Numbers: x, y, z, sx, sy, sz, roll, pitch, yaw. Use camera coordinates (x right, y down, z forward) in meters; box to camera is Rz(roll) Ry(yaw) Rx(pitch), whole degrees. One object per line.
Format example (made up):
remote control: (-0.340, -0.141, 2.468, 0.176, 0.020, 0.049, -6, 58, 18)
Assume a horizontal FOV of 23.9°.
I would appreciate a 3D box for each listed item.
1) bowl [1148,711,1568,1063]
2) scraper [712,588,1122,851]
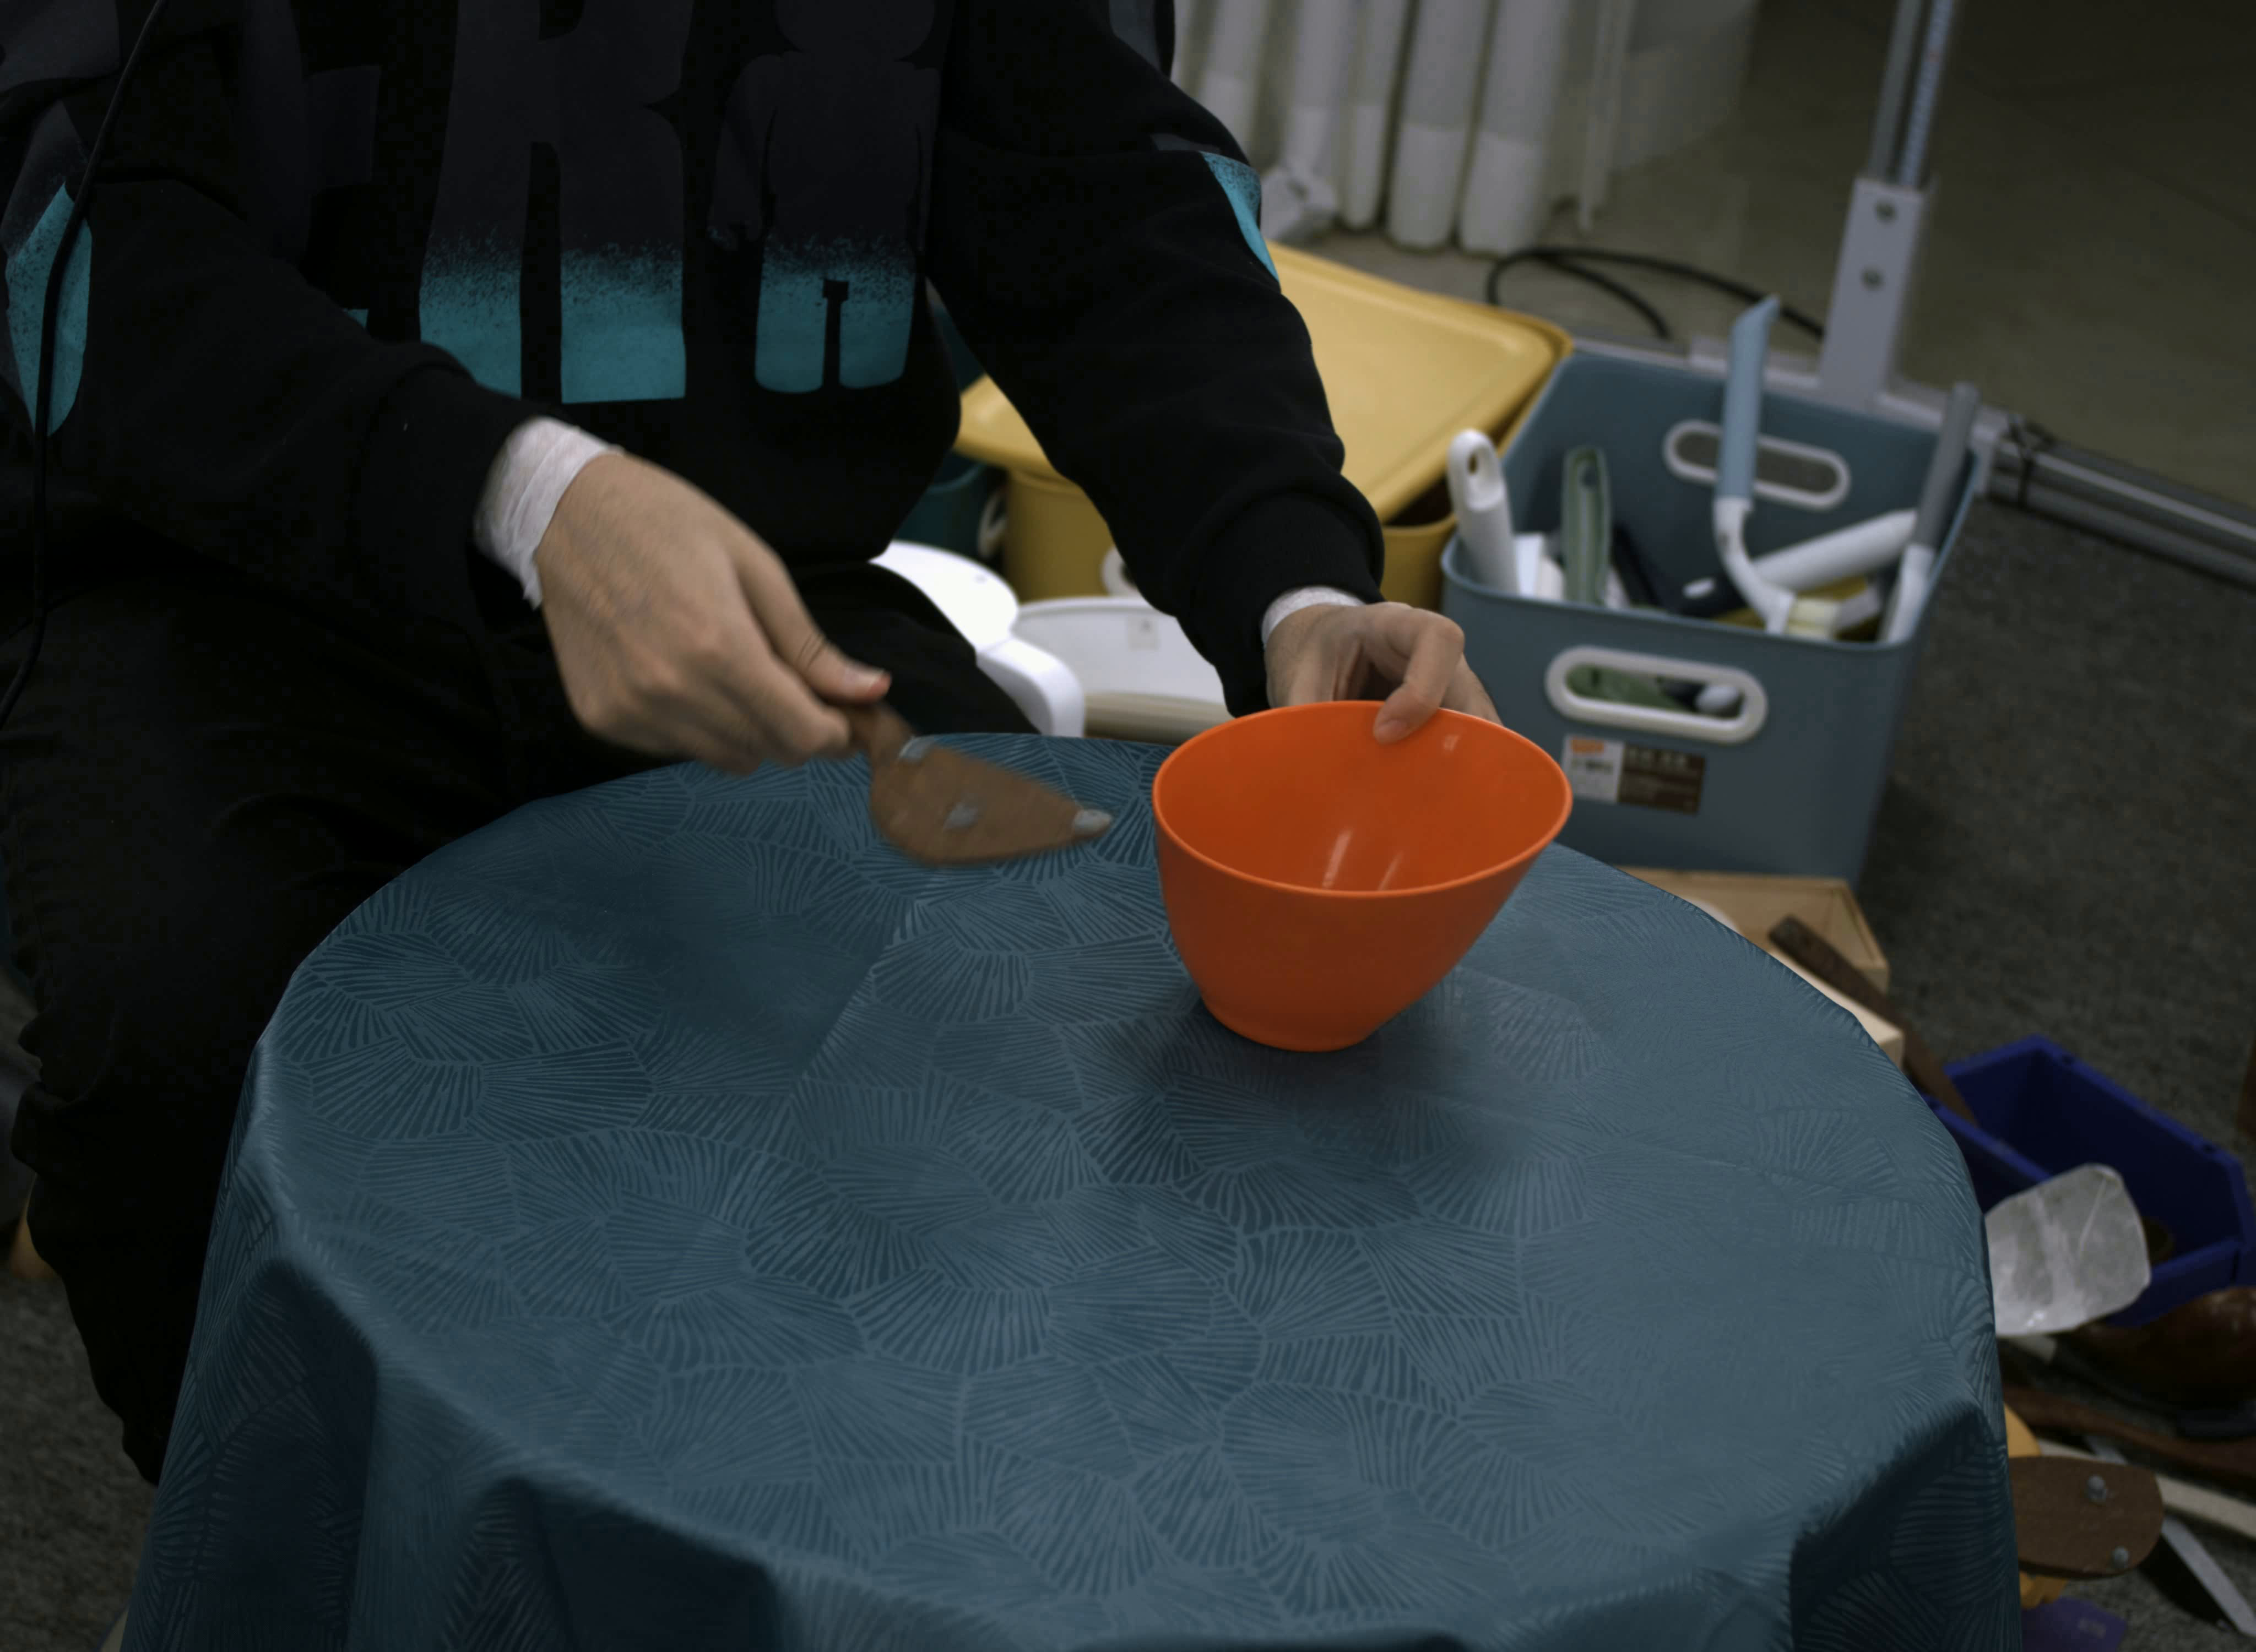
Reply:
bowl: (0.076, 0.027, 1.897, 0.147, 0.104, 0.149, 5, 29, -3)
scraper: (-0.084, -0.038, 1.840, 0.075, 0.011, 0.213, -11, 31, -31)
